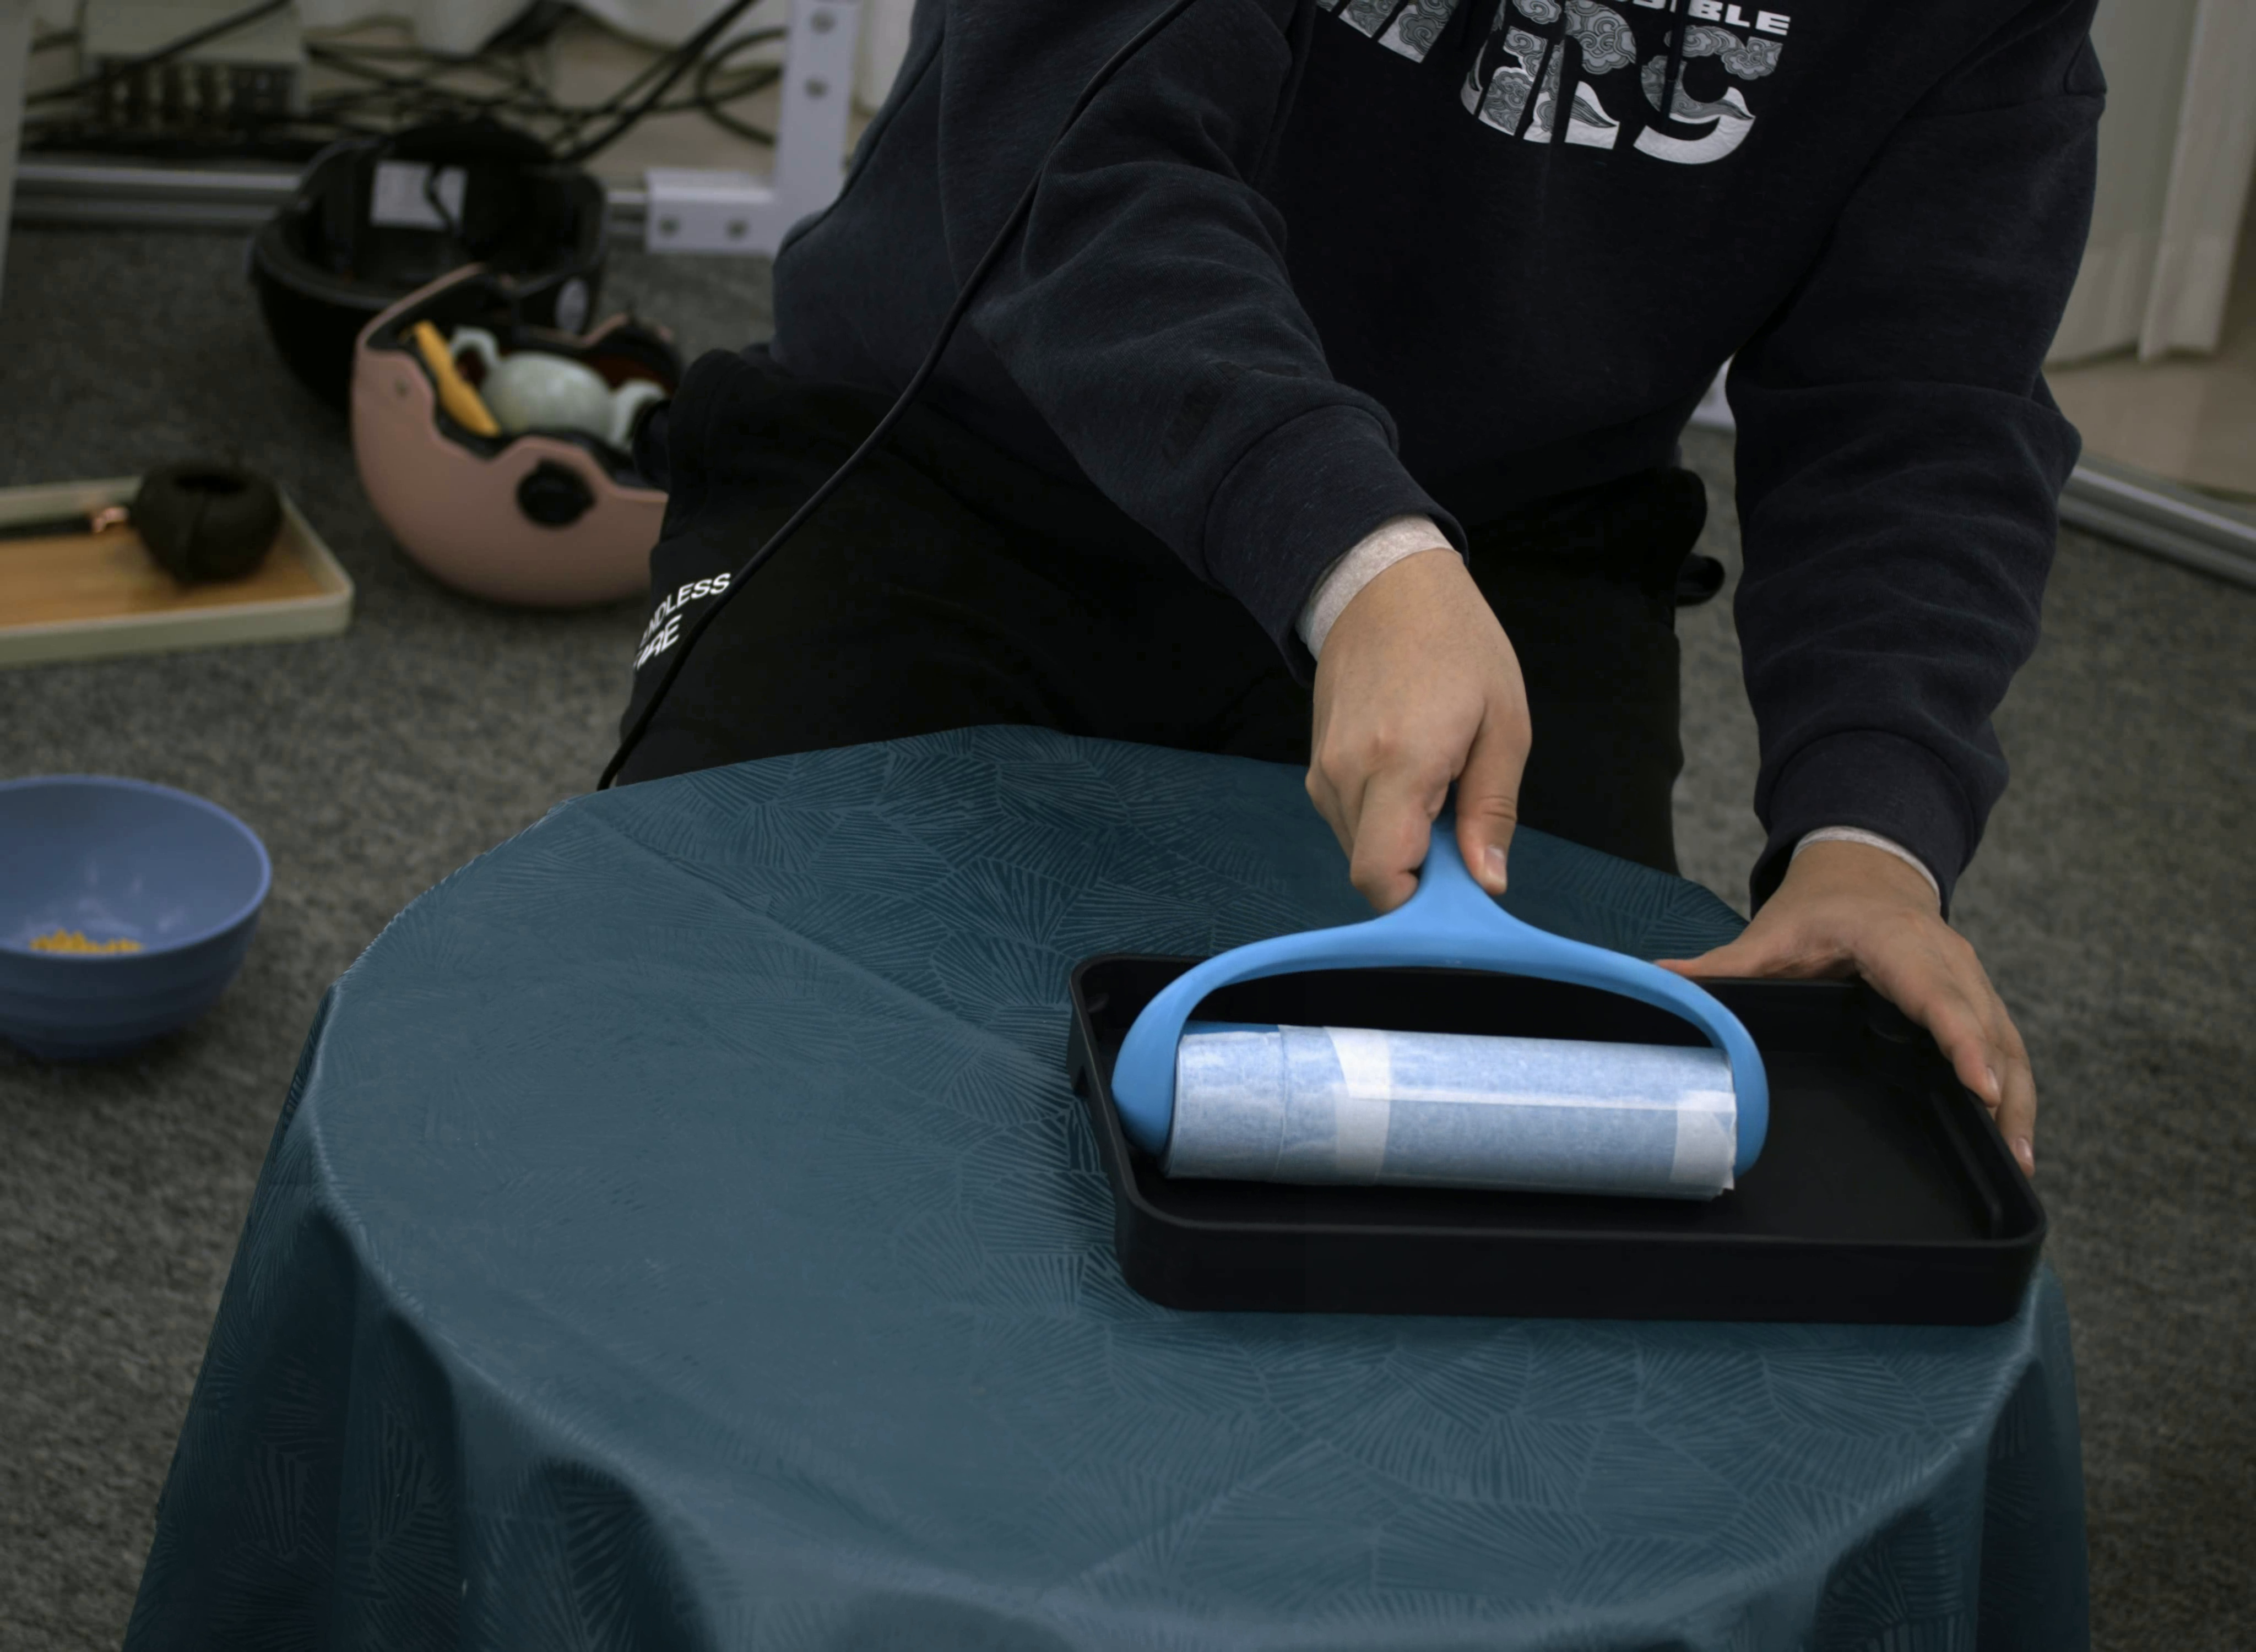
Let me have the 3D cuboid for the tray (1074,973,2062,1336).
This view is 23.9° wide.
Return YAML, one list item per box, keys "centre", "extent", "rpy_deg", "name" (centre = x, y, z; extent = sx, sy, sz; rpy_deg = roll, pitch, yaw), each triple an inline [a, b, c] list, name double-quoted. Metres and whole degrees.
- centre: [0.146, 0.111, 1.836]
  extent: [0.316, 0.037, 0.186]
  rpy_deg: [0, 27, -10]
  name: "tray"

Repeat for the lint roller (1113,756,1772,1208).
- centre: [0.105, 0.044, 1.840]
  extent: [0.228, 0.067, 0.181]
  rpy_deg: [1, 63, -8]
  name: "lint roller"
